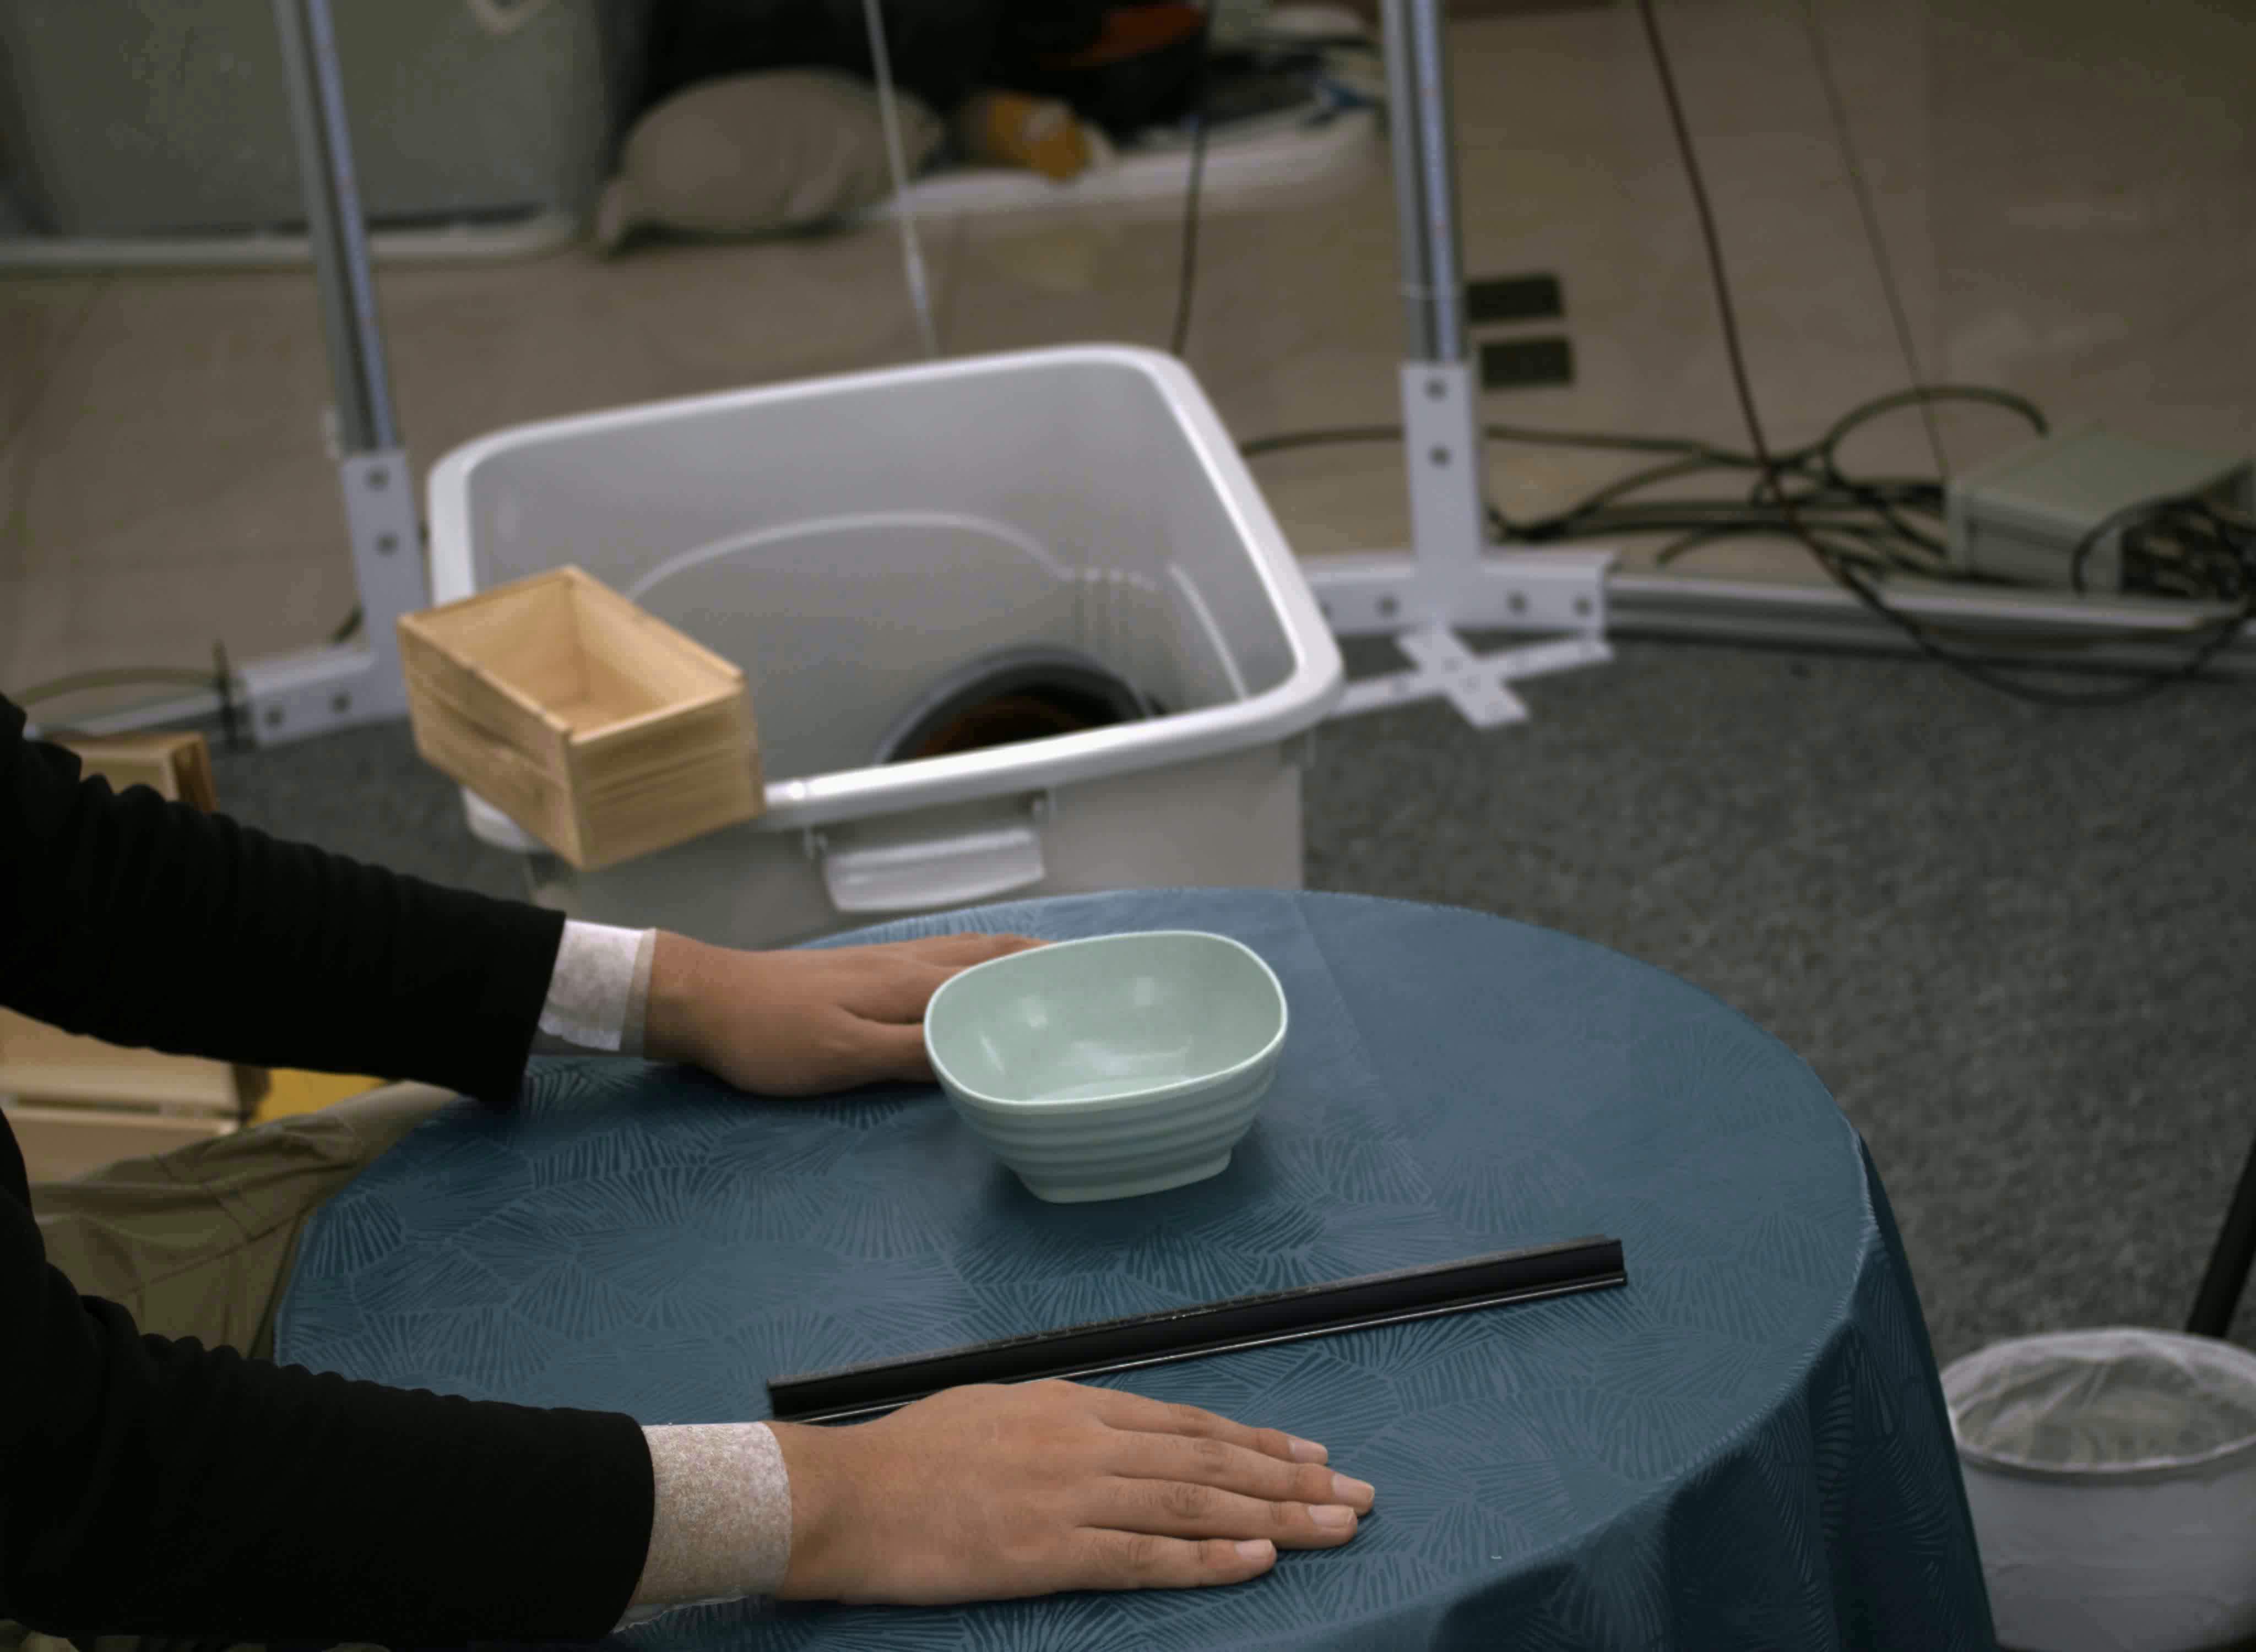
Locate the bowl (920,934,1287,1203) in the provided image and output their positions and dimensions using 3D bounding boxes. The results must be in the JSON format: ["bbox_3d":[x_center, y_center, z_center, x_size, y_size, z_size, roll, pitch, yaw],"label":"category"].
[{"bbox_3d":[-0.008,0.098,2.170,0.151,0.059,0.149,-3,26,2],"label":"bowl"}]

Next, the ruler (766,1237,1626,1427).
[{"bbox_3d":[0.024,0.176,2.045,0.312,0.017,0.039,-9,21,-5],"label":"ruler"}]
